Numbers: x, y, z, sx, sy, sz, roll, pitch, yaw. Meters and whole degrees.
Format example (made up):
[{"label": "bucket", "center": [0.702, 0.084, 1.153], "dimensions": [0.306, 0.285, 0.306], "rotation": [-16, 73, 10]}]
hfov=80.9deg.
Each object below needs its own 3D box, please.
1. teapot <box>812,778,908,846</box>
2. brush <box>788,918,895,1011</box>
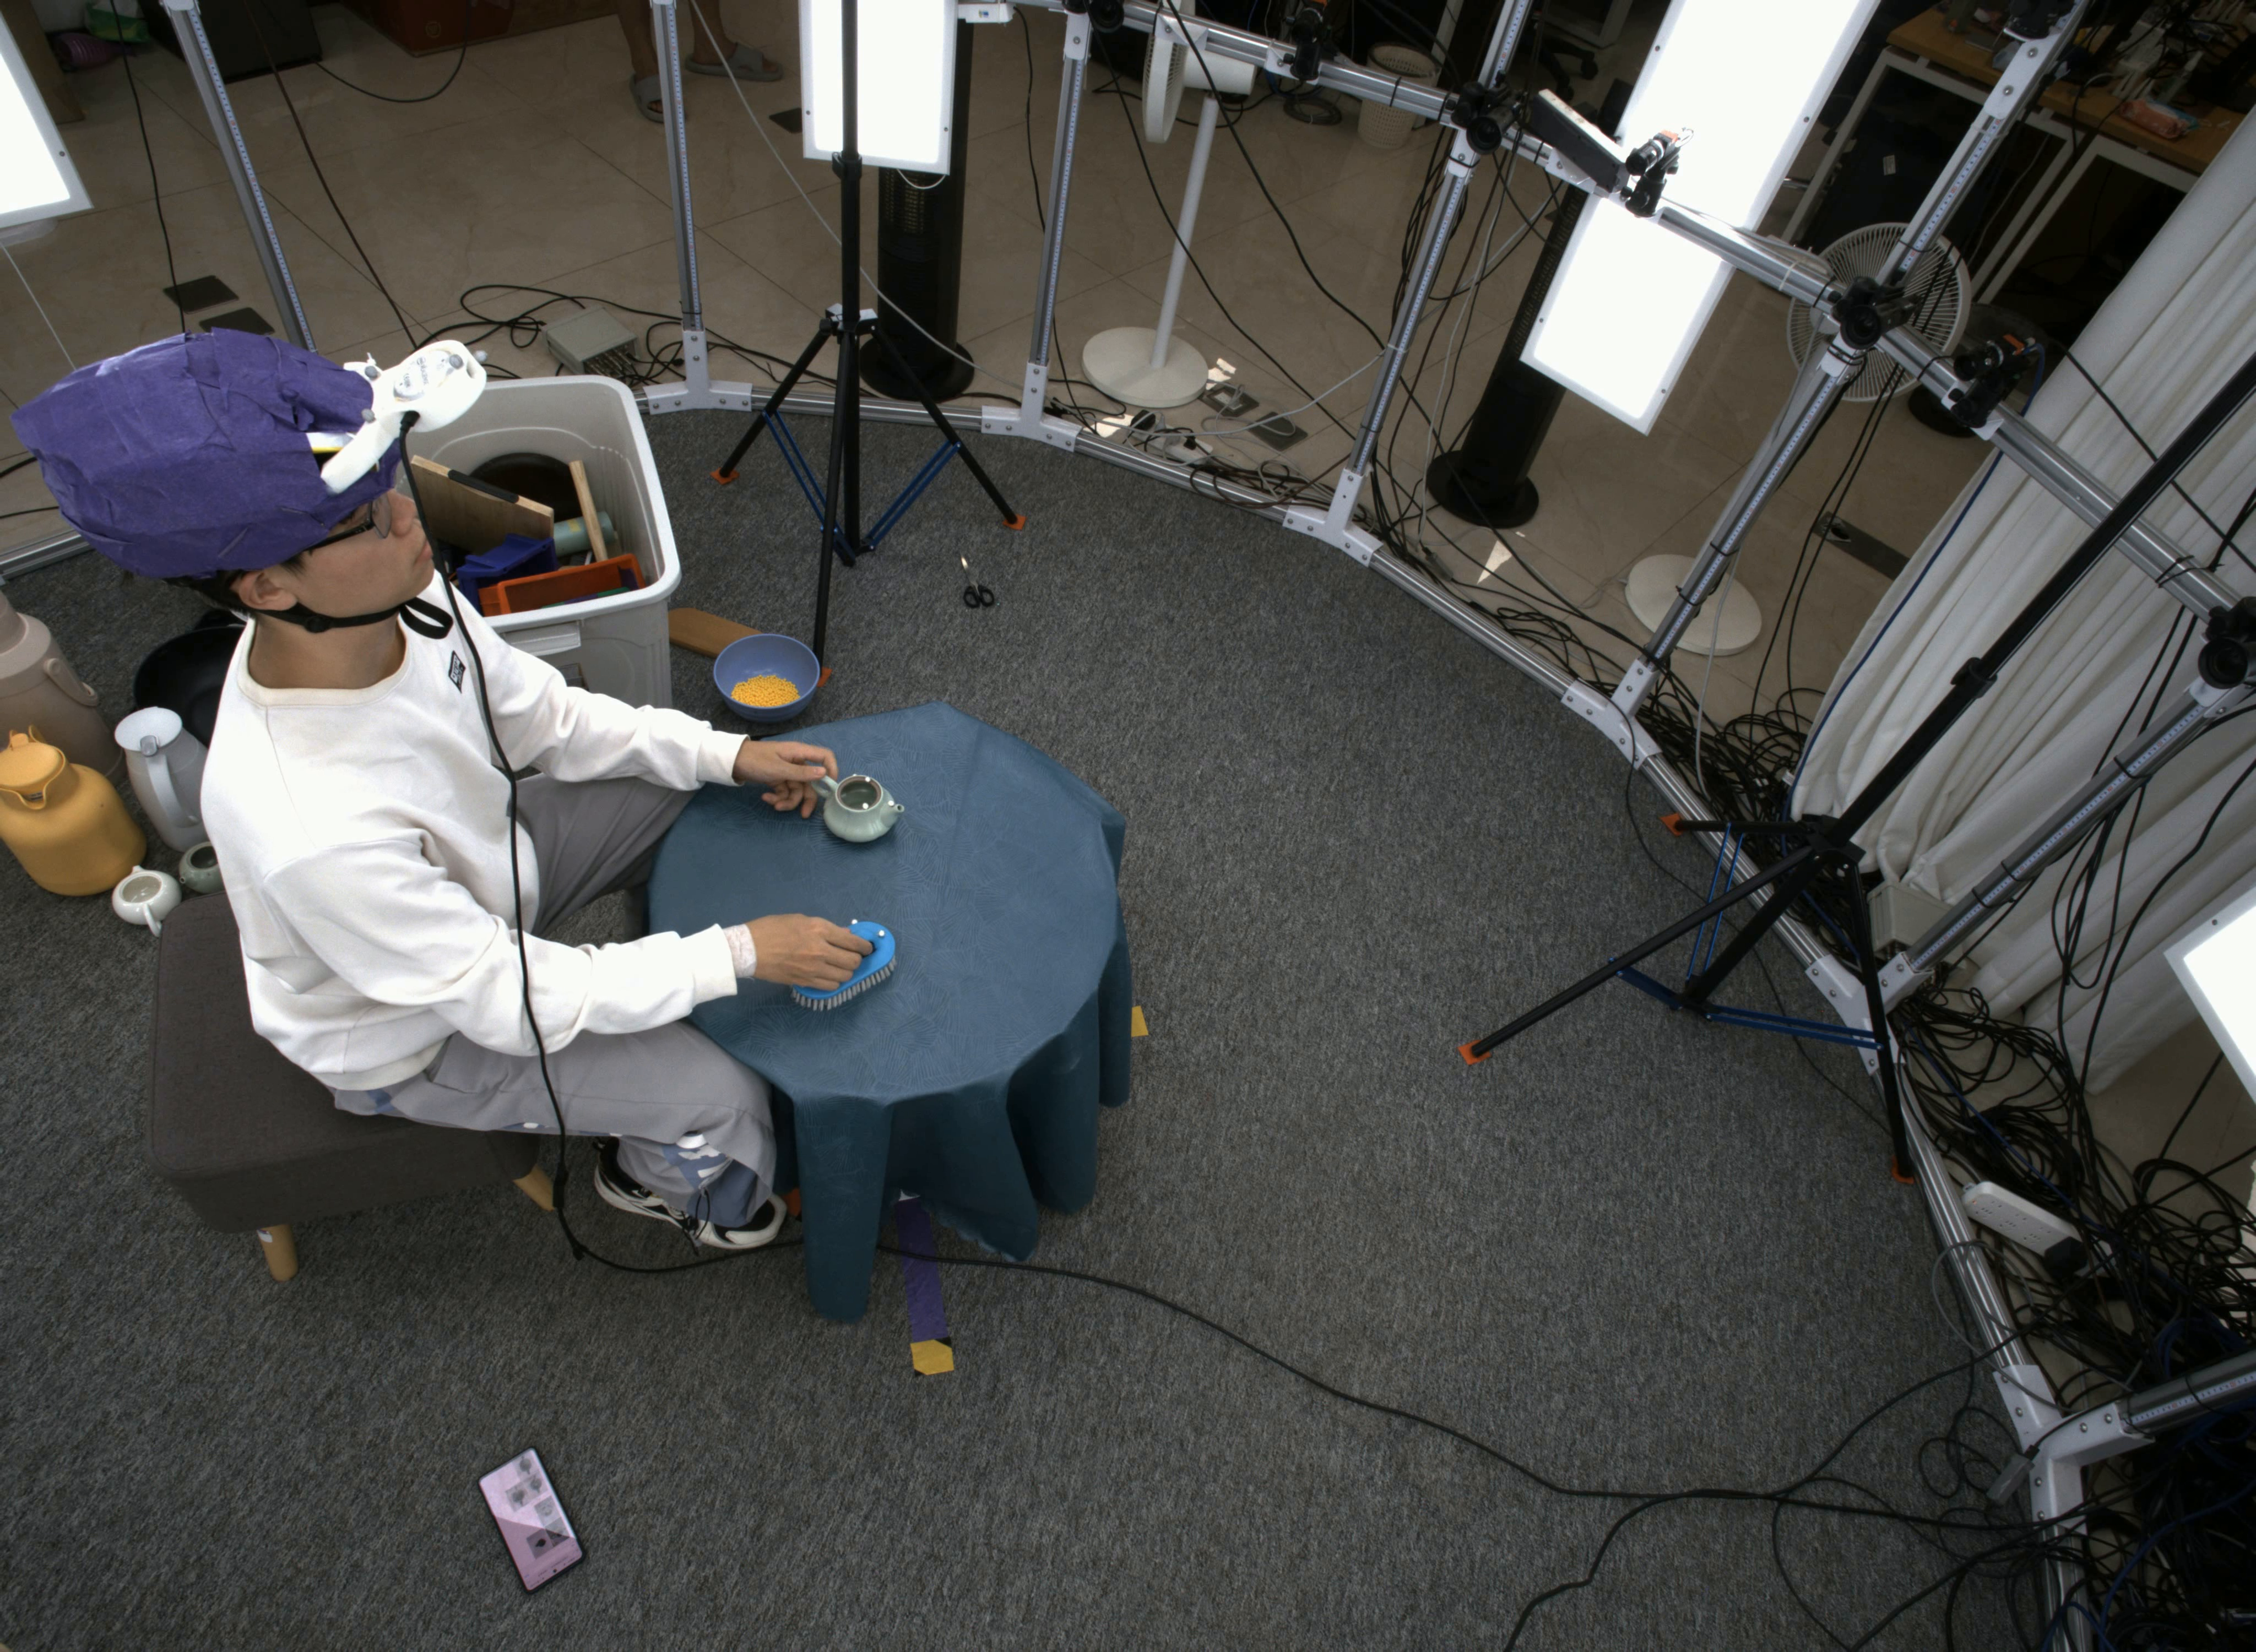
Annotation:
[{"label": "teapot", "center": [-0.357, -0.026, 1.732], "dimensions": [0.135, 0.063, 0.095], "rotation": [18, 57, 4]}, {"label": "brush", "center": [-0.349, 0.162, 1.591], "dimensions": [0.142, 0.065, 0.083], "rotation": [-29, 69, -28]}]
